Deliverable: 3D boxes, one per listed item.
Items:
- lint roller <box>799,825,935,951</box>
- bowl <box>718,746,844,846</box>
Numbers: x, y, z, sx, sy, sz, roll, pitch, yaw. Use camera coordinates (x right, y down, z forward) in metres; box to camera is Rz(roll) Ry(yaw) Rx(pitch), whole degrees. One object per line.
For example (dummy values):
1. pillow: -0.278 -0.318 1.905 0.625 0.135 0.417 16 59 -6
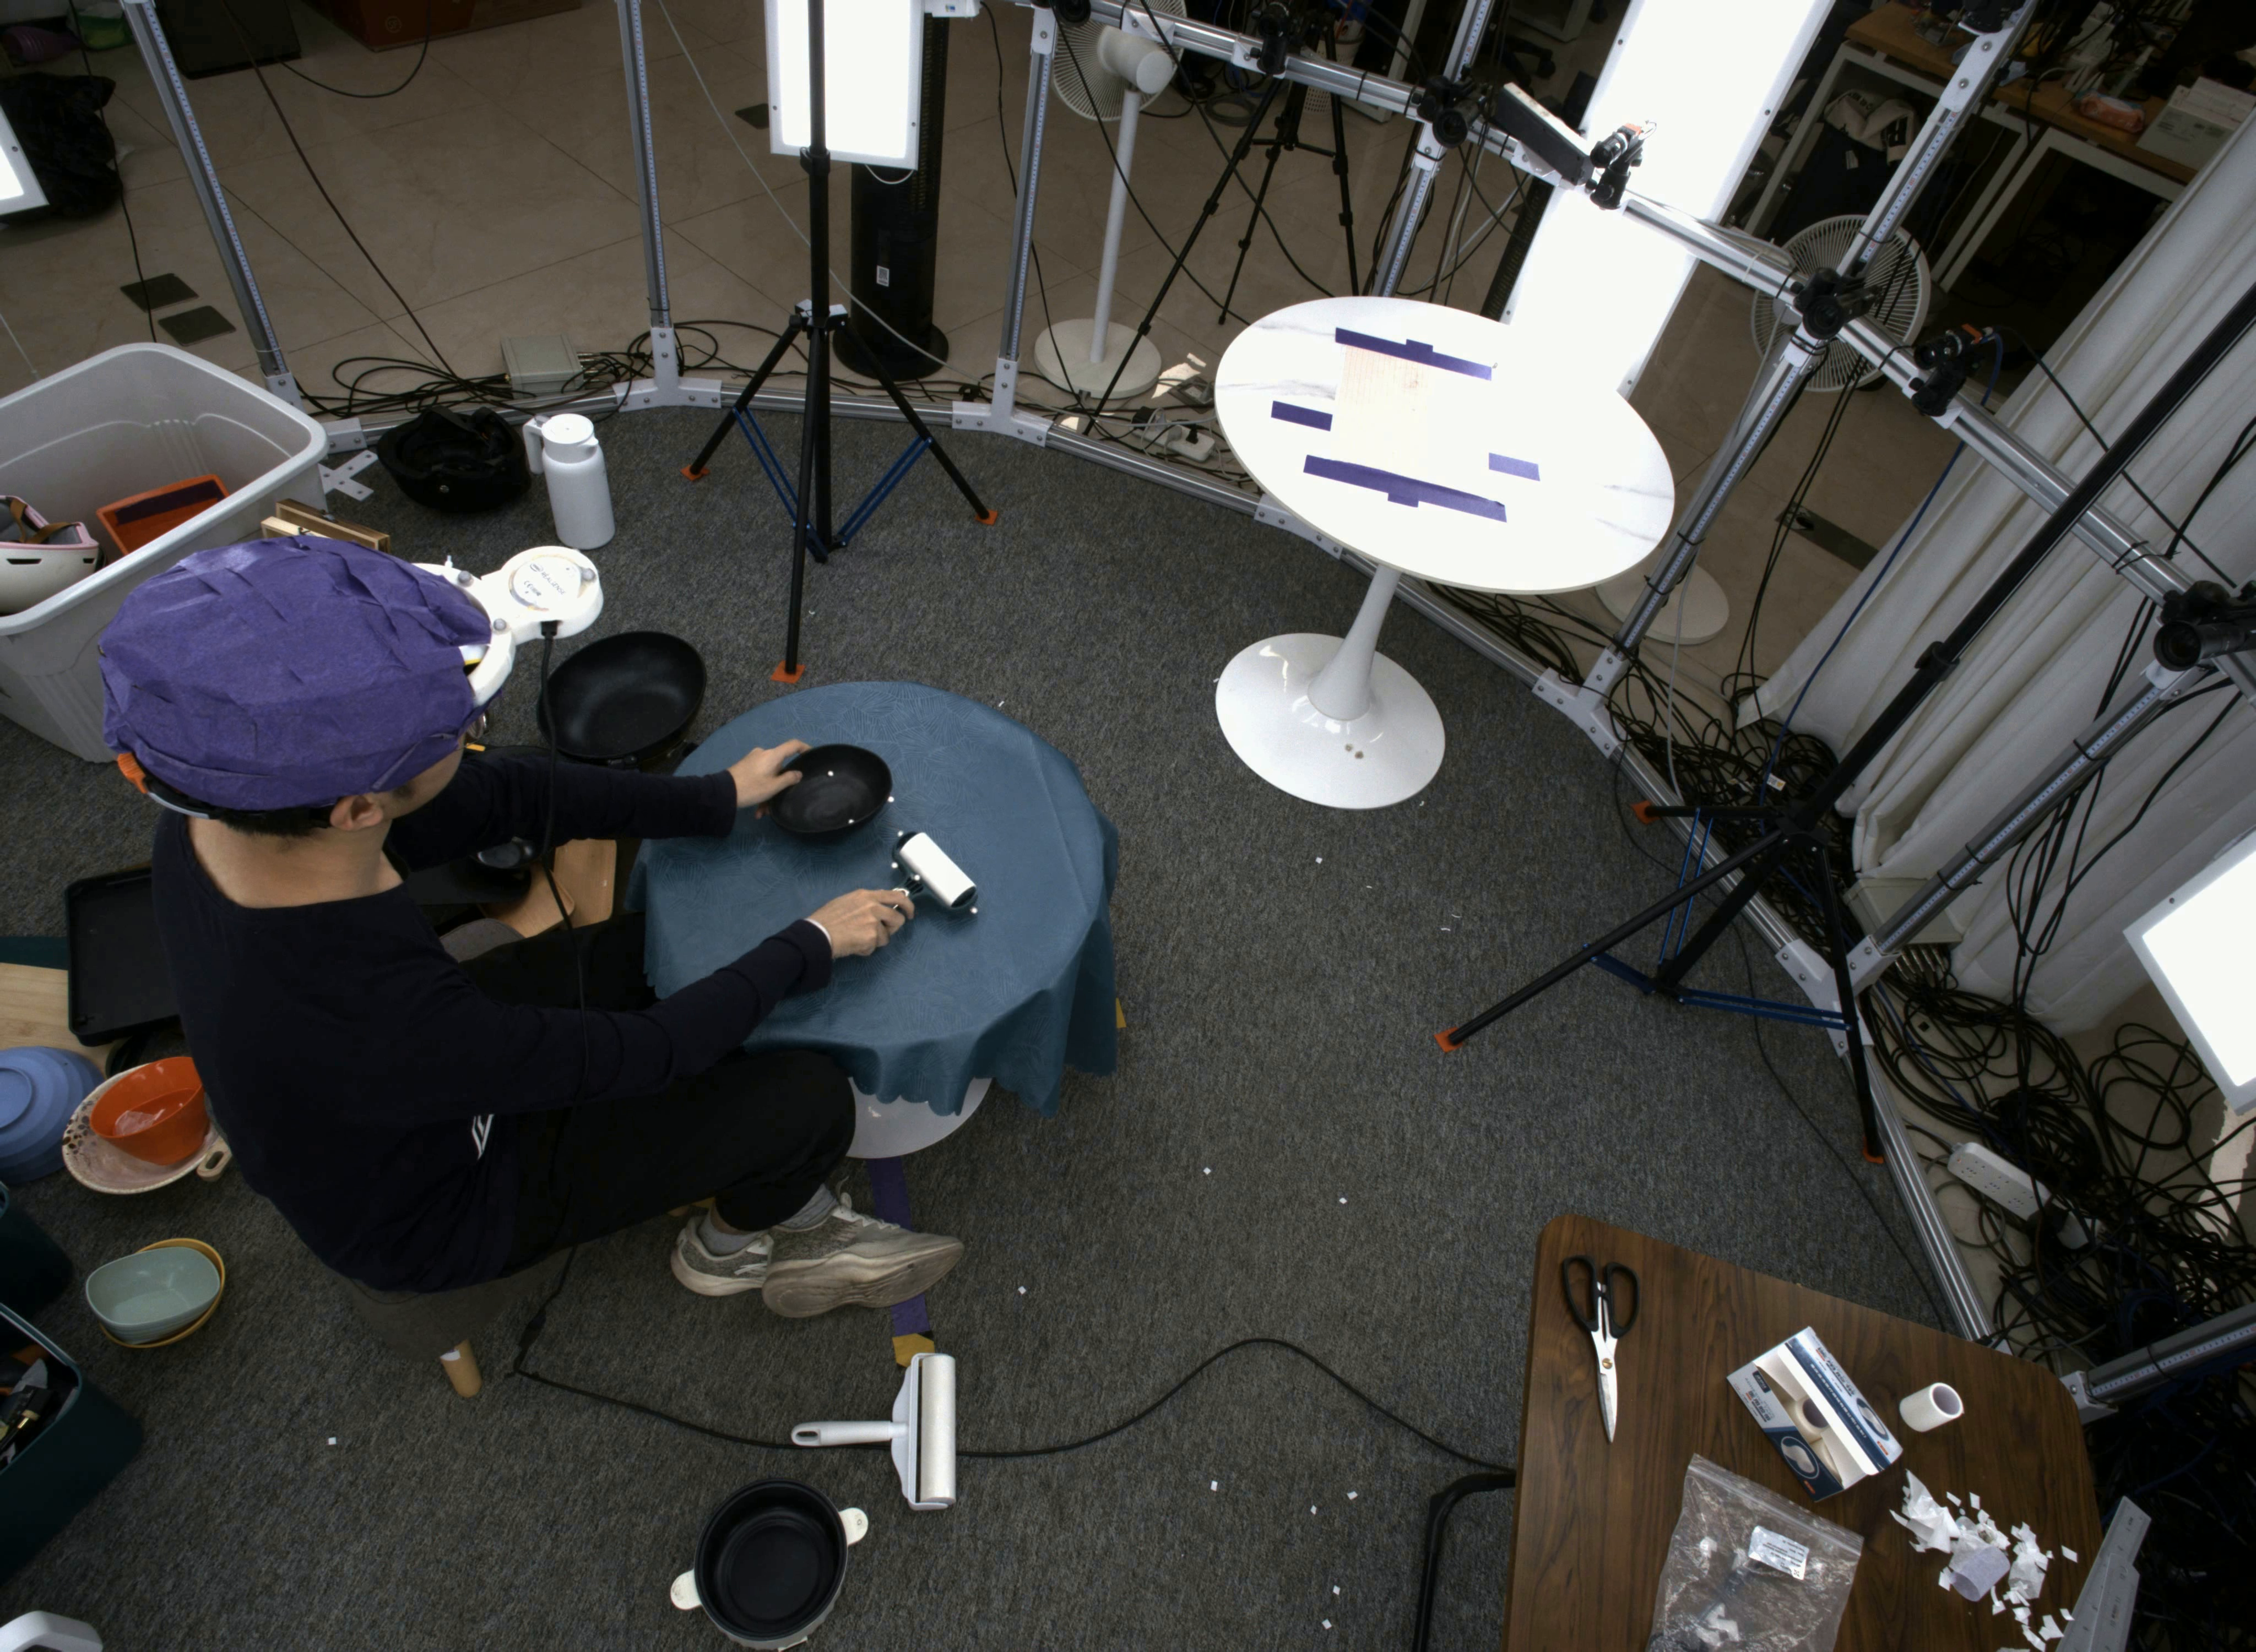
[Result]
1. lint roller: -0.342 0.091 1.636 0.133 0.048 0.180 44 49 7
2. bowl: -0.454 -0.028 1.706 0.171 0.068 0.134 -35 68 -31
